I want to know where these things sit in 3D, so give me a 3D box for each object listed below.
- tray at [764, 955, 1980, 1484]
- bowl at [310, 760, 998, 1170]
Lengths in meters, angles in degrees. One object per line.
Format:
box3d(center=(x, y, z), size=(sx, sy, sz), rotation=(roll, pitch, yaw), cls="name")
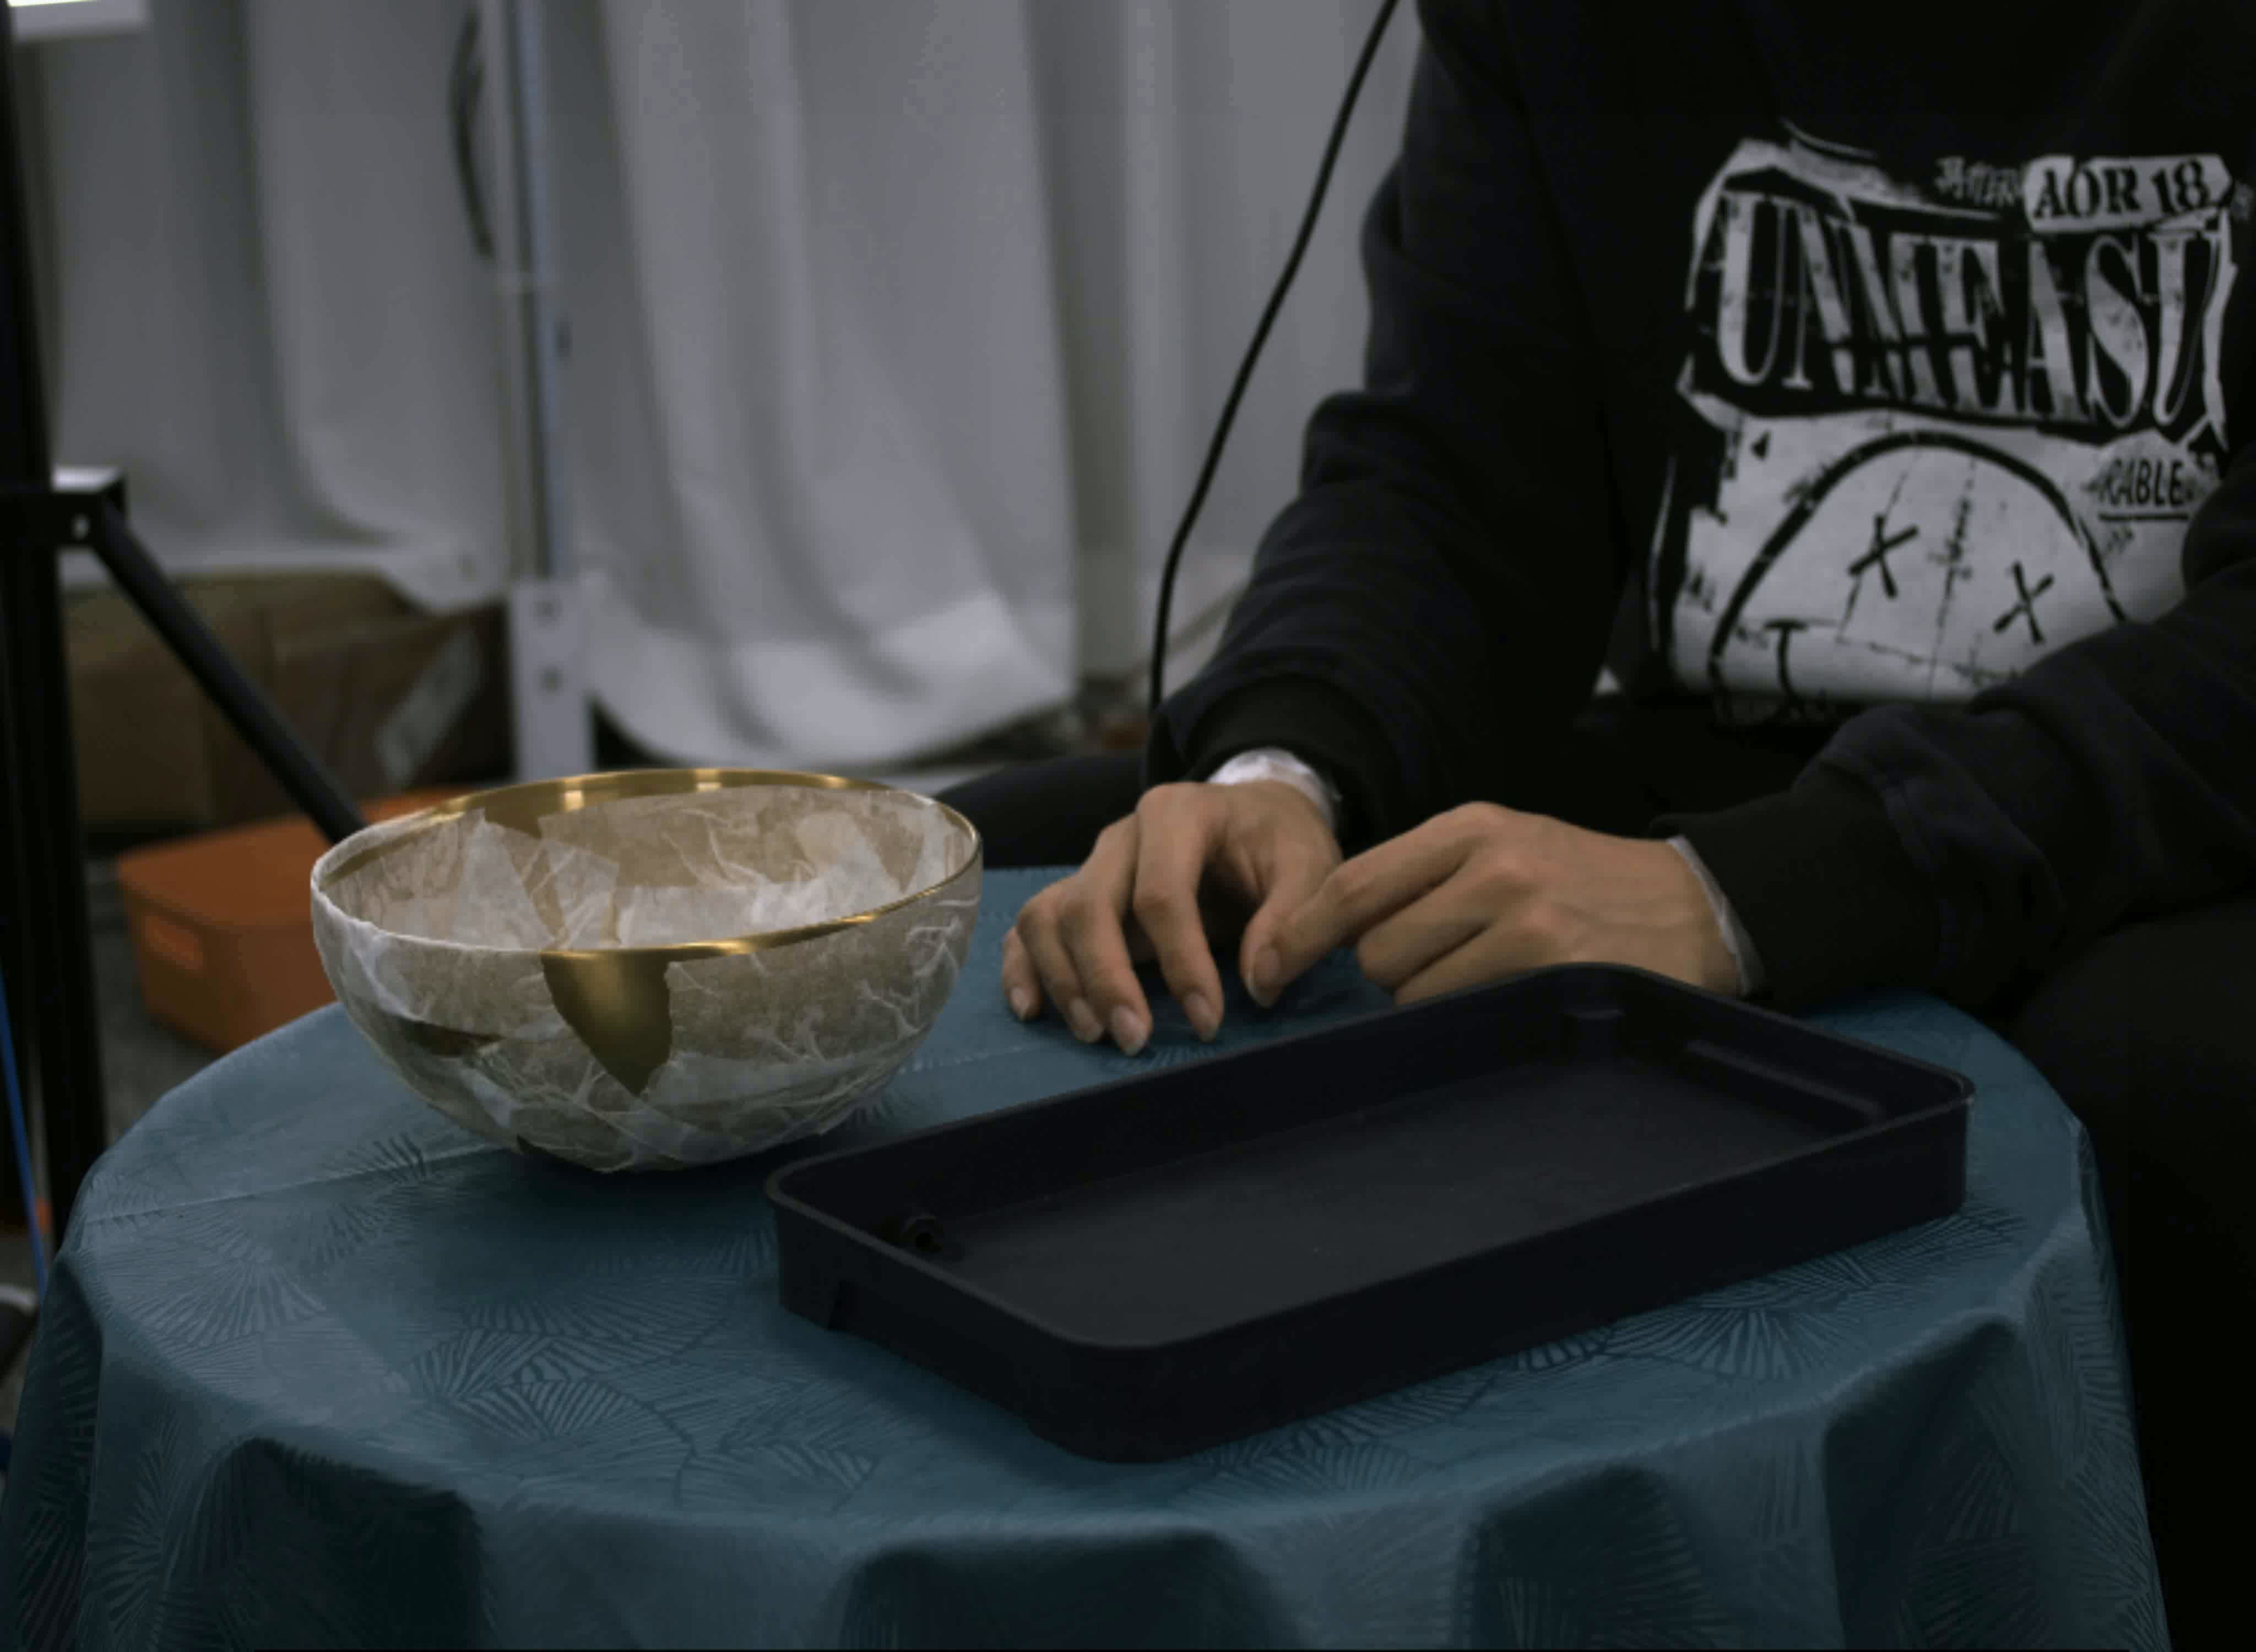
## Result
box3d(center=(0.071, 0.105, 1.499), size=(0.311, 0.037, 0.188), rotation=(-14, 20, -30), cls="tray")
box3d(center=(-0.138, 0.050, 1.614), size=(0.213, 0.094, 0.216), rotation=(-3, 15, -1), cls="bowl")
